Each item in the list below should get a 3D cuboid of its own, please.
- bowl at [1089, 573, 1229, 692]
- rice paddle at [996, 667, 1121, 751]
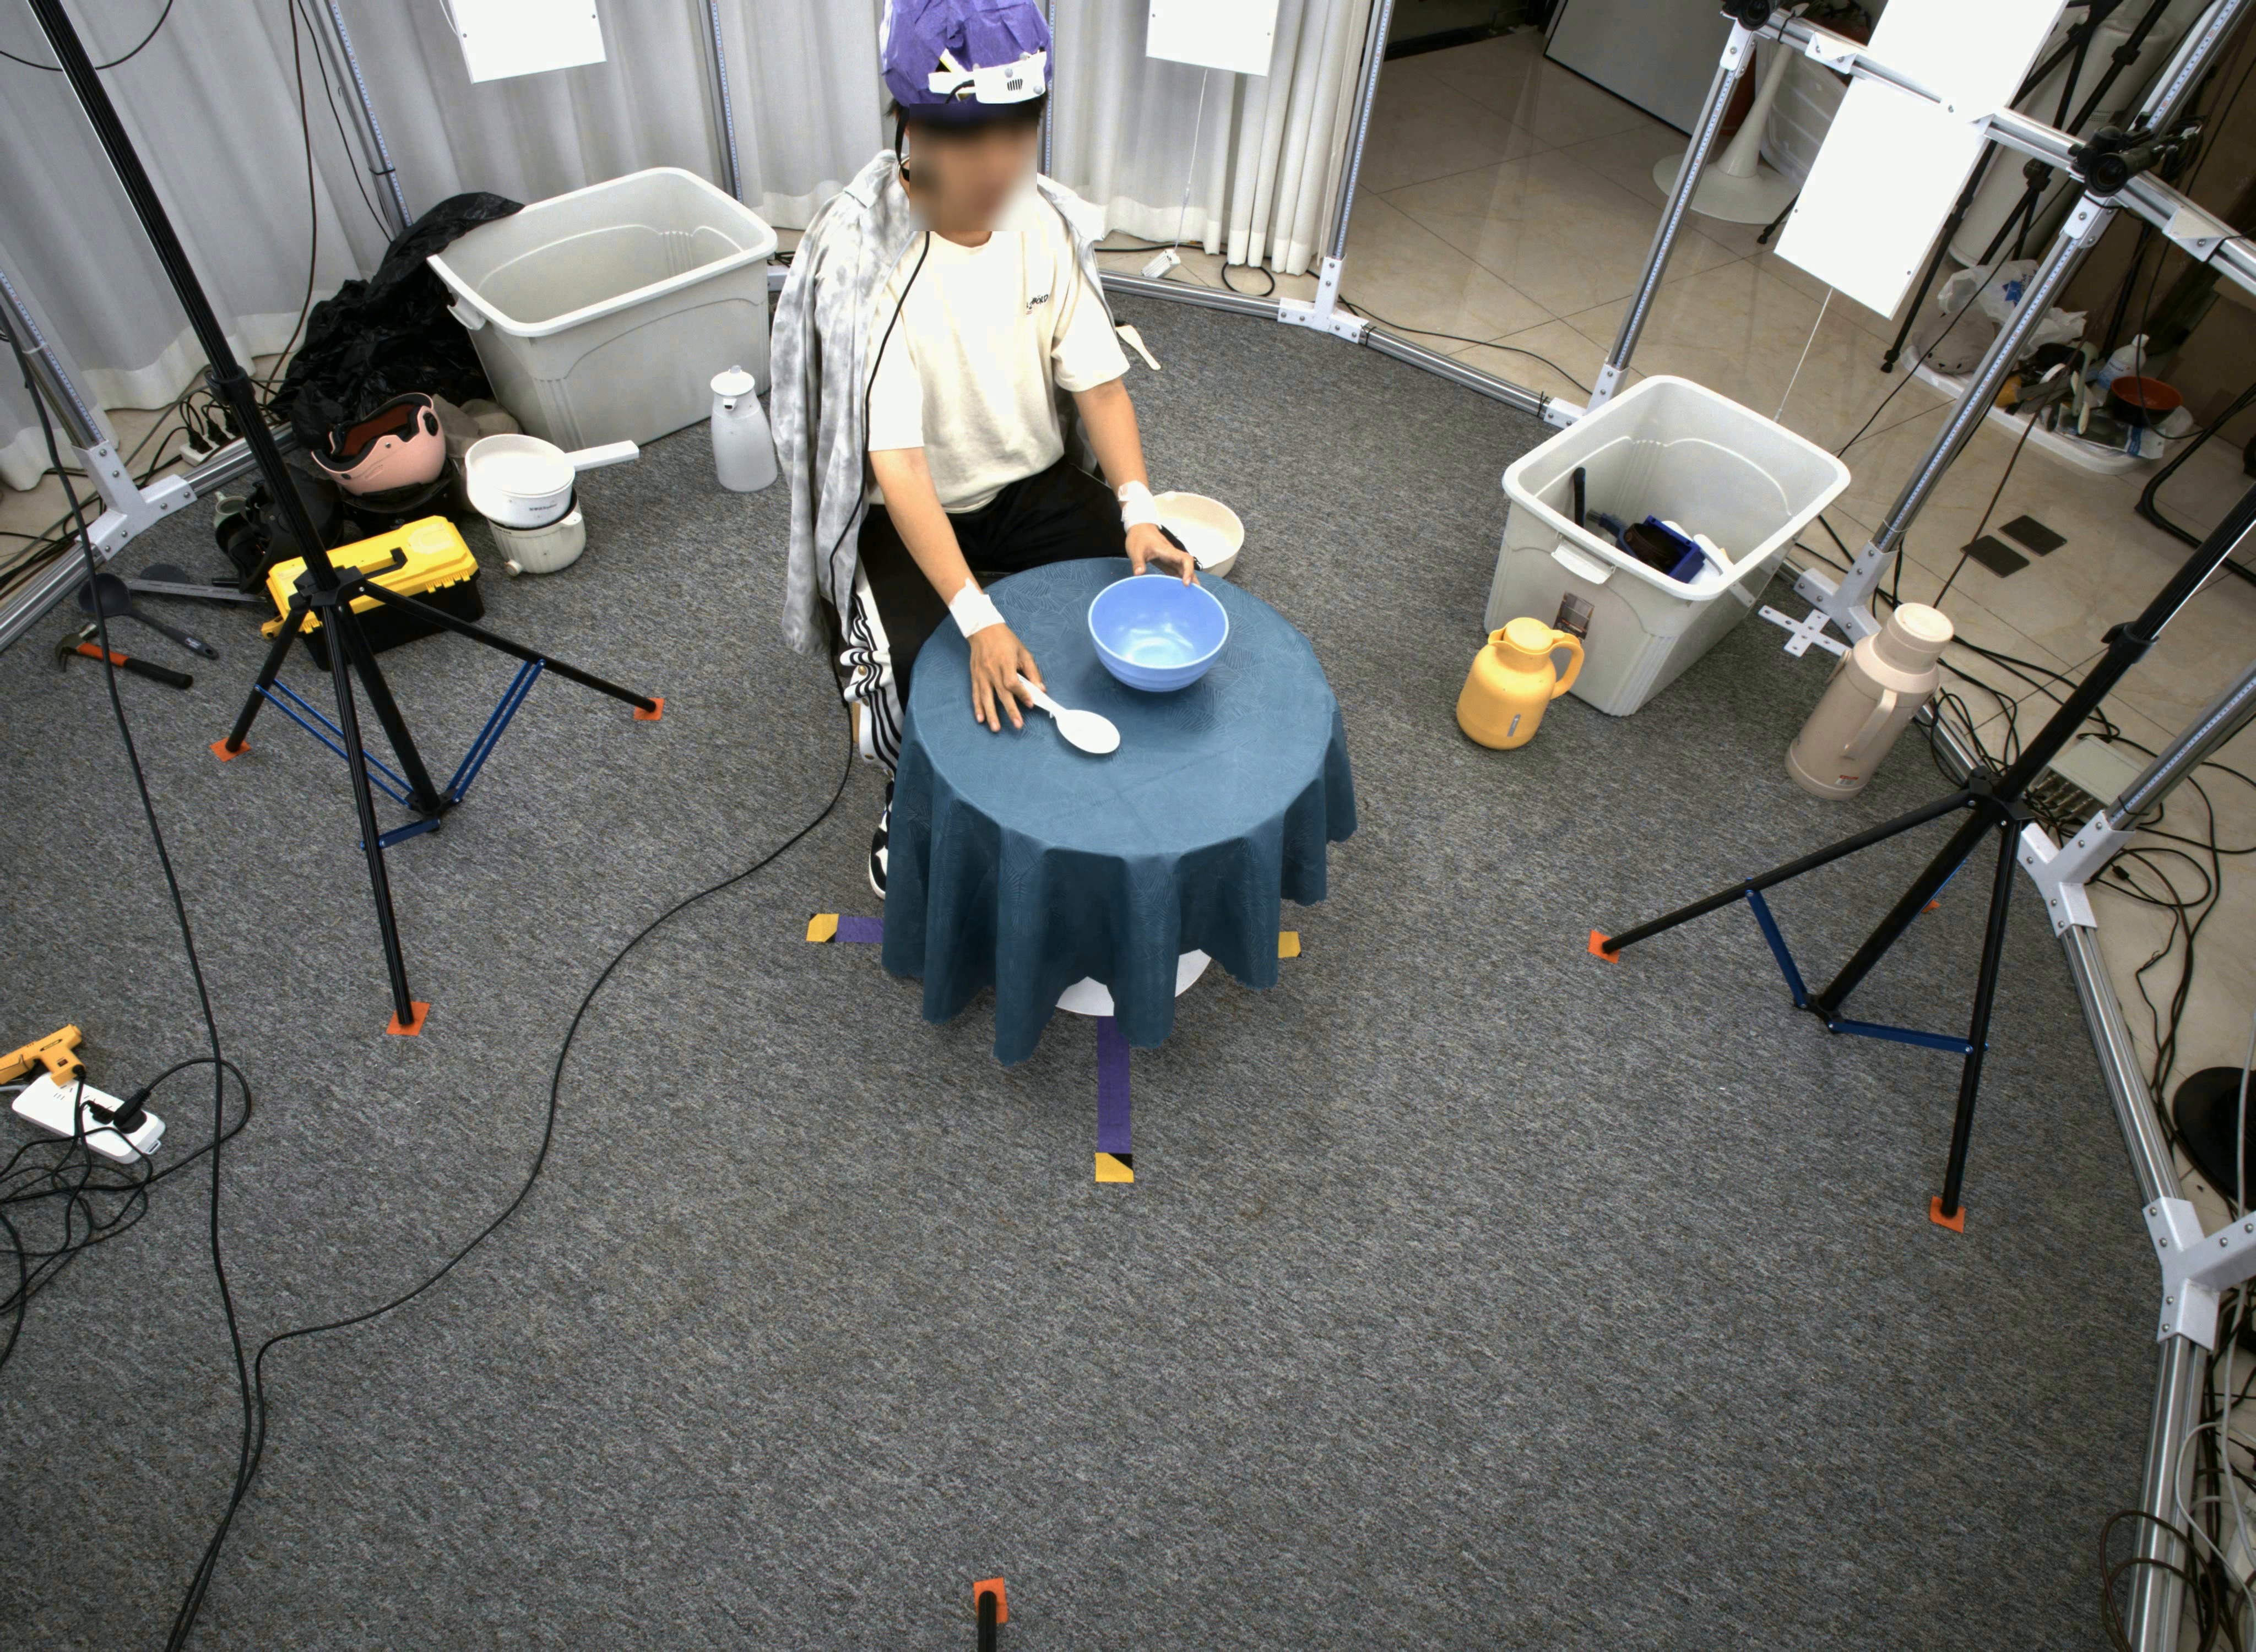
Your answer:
[{"bbox_3d":[0.041,-0.260,1.828,0.196,0.093,0.201,2,50,-3],"label":"bowl"},{"bbox_3d":[-0.096,-0.162,1.775,0.208,0.029,0.069,33,52,23],"label":"rice paddle"}]
